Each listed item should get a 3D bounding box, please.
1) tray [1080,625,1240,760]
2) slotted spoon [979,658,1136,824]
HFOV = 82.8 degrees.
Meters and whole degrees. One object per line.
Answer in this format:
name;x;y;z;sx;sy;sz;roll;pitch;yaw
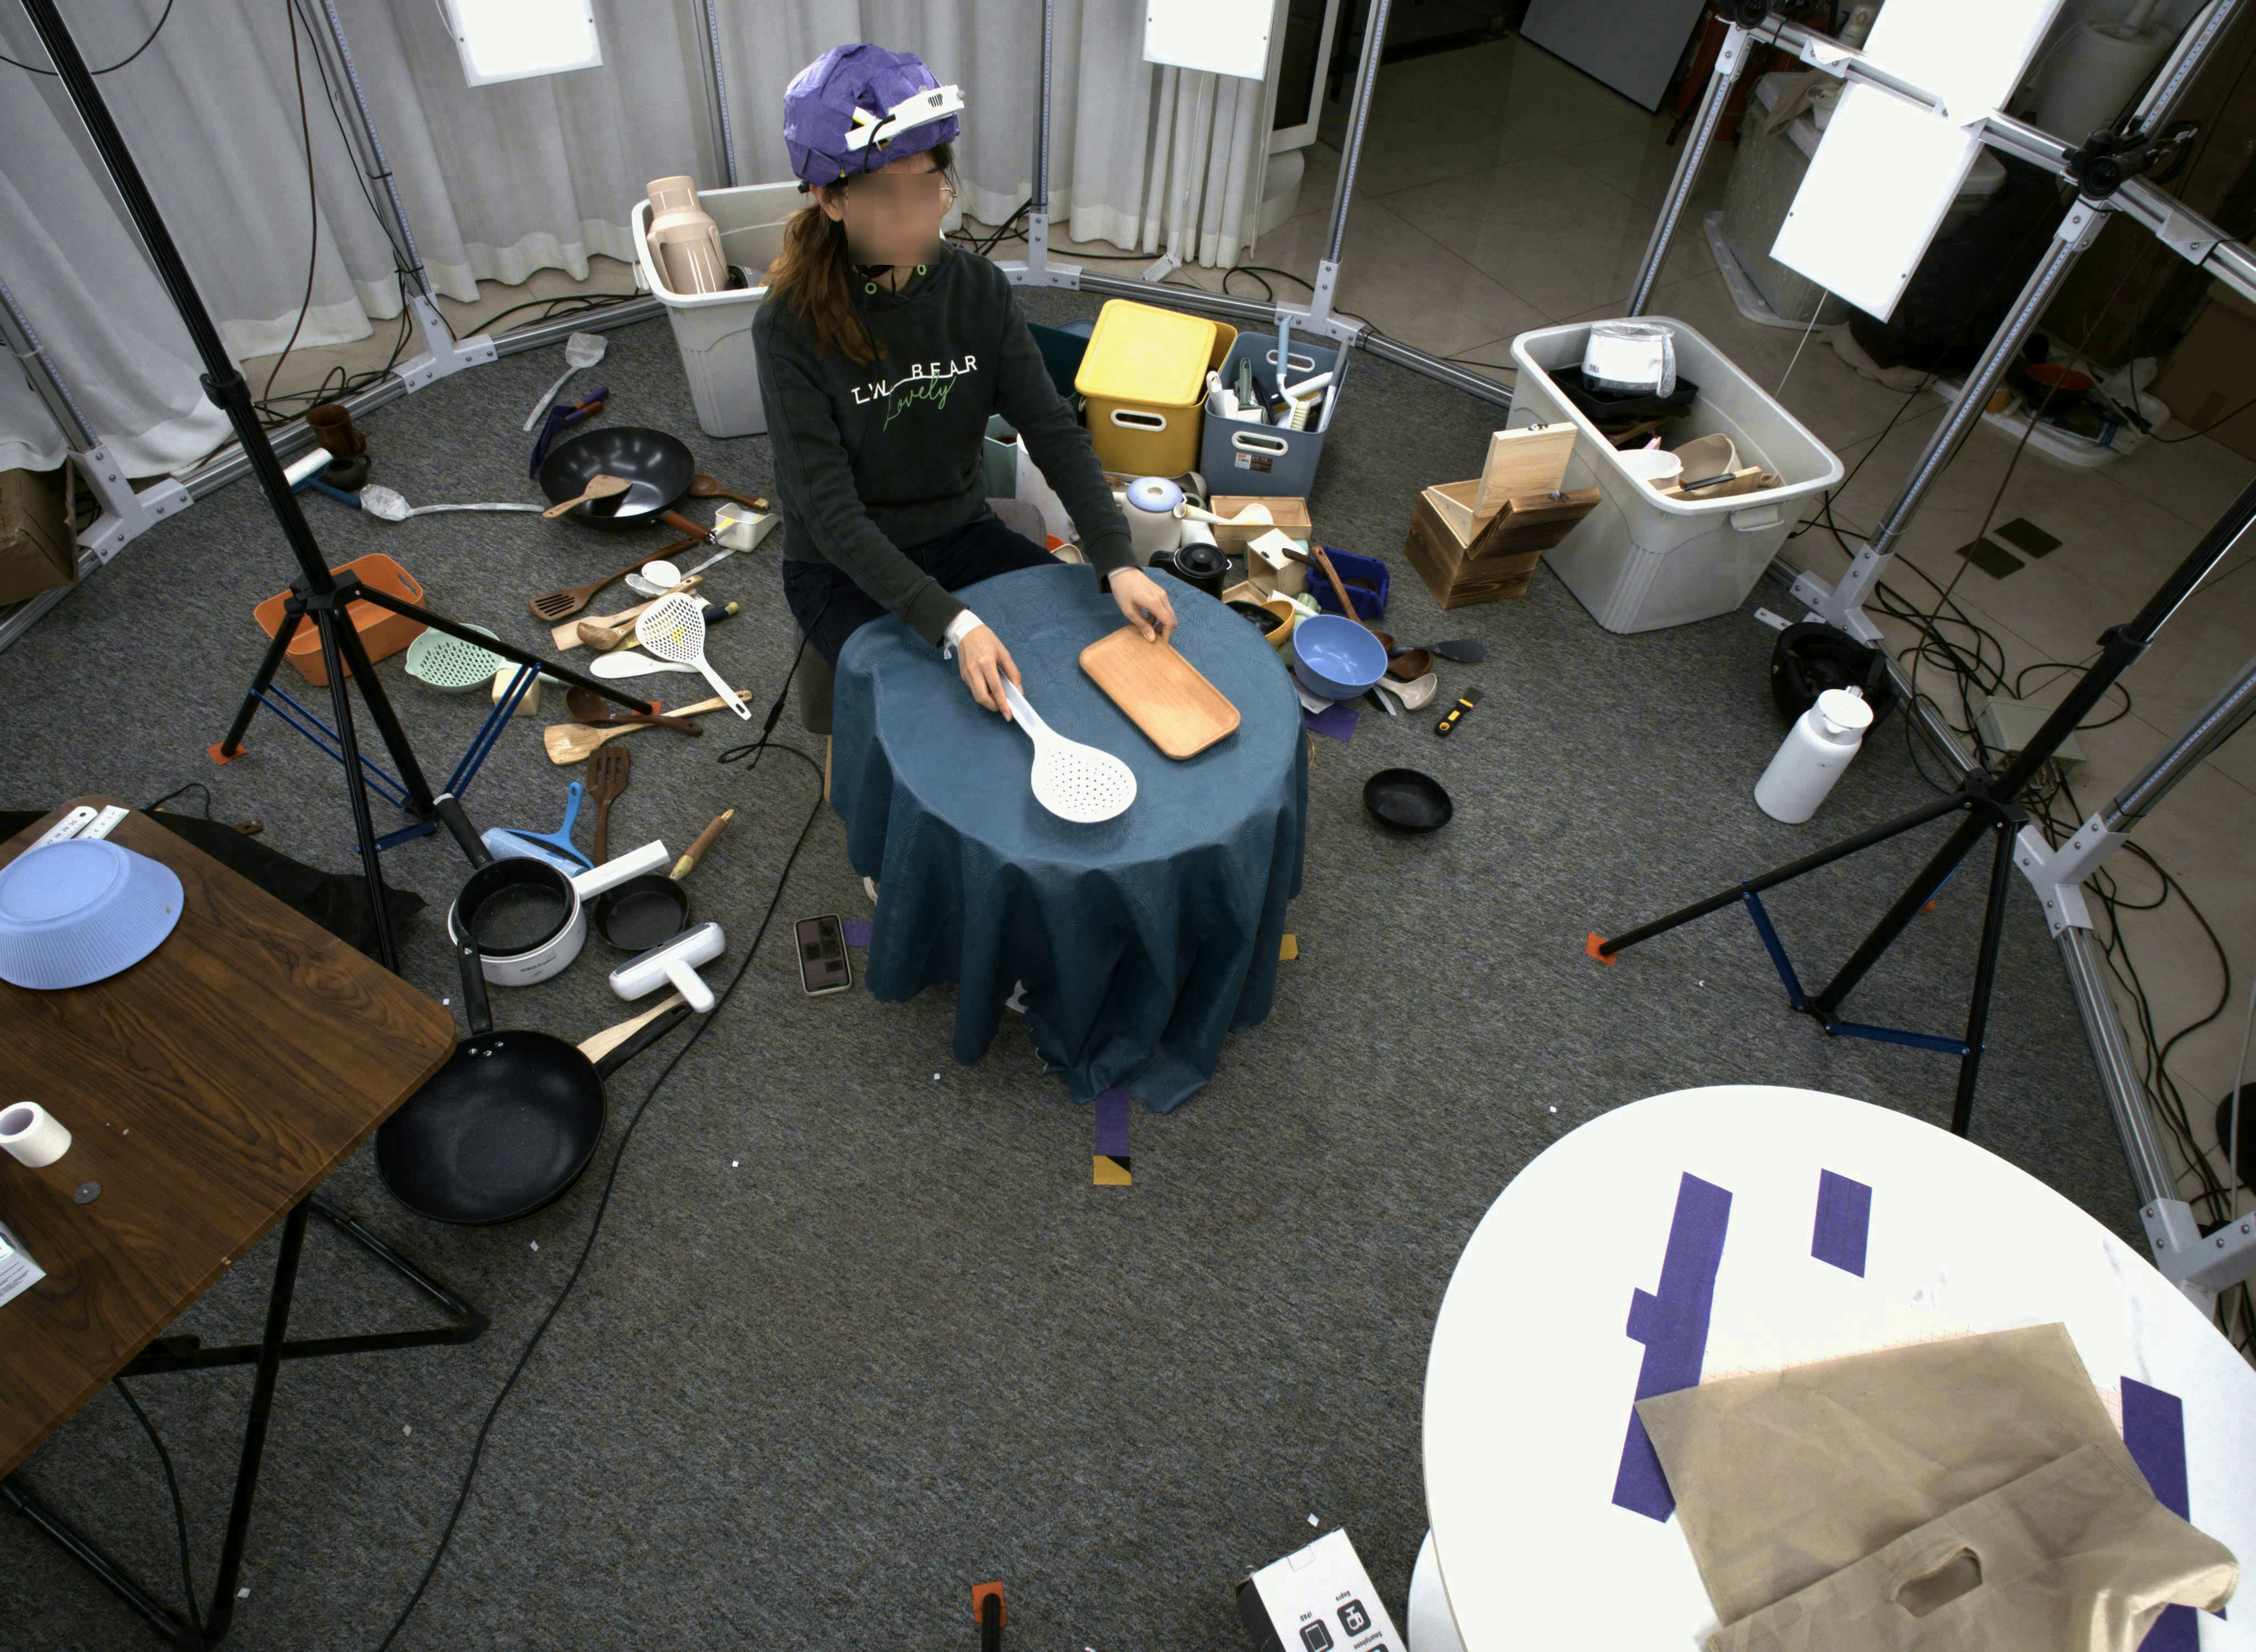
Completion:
tray;0.043;-0.194;1.838;0.131;0.022;0.255;-29;55;-21
slotted spoon;-0.114;-0.120;1.743;0.136;0.044;0.357;-19;55;-26
